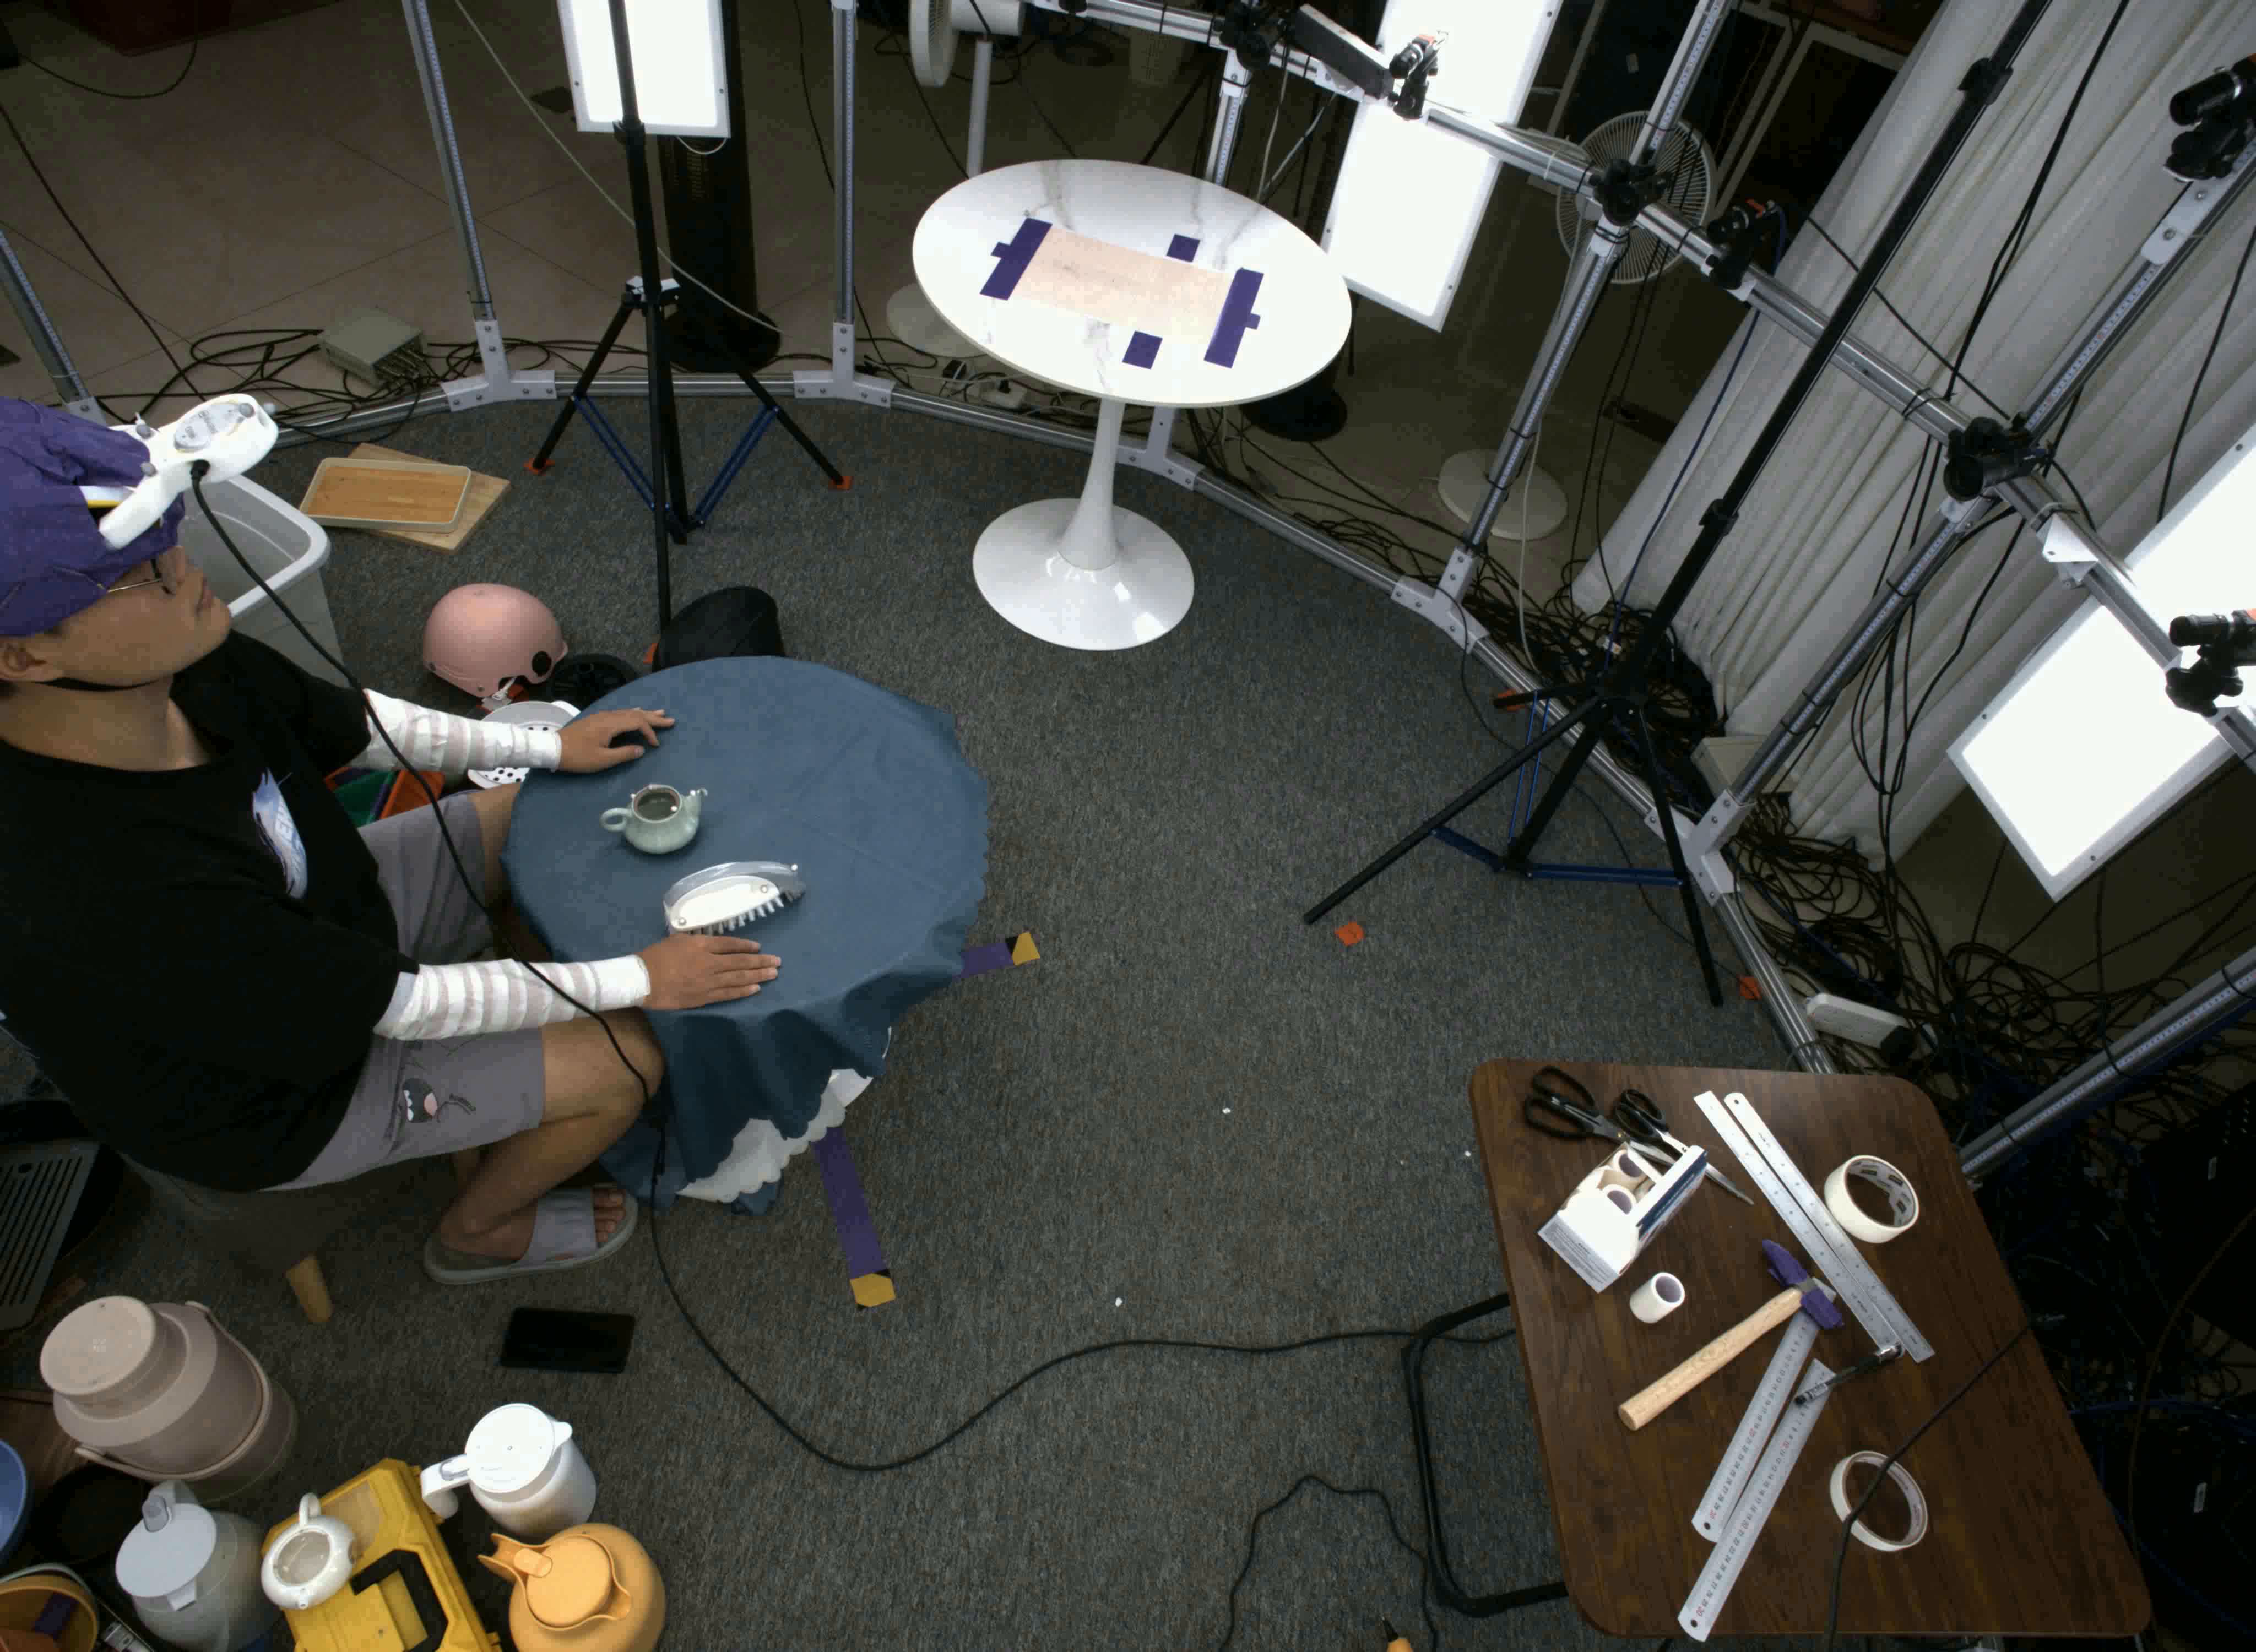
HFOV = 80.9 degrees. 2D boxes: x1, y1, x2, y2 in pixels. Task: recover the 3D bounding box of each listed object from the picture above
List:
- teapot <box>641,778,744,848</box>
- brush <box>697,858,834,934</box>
[{"bbox_3d":[-0.565,-0.022,1.677,0.137,0.062,0.094,-16,61,-23],"label":"teapot"},{"bbox_3d":[-0.451,0.070,1.617,0.176,0.096,0.060,-14,60,-24],"label":"brush"}]
